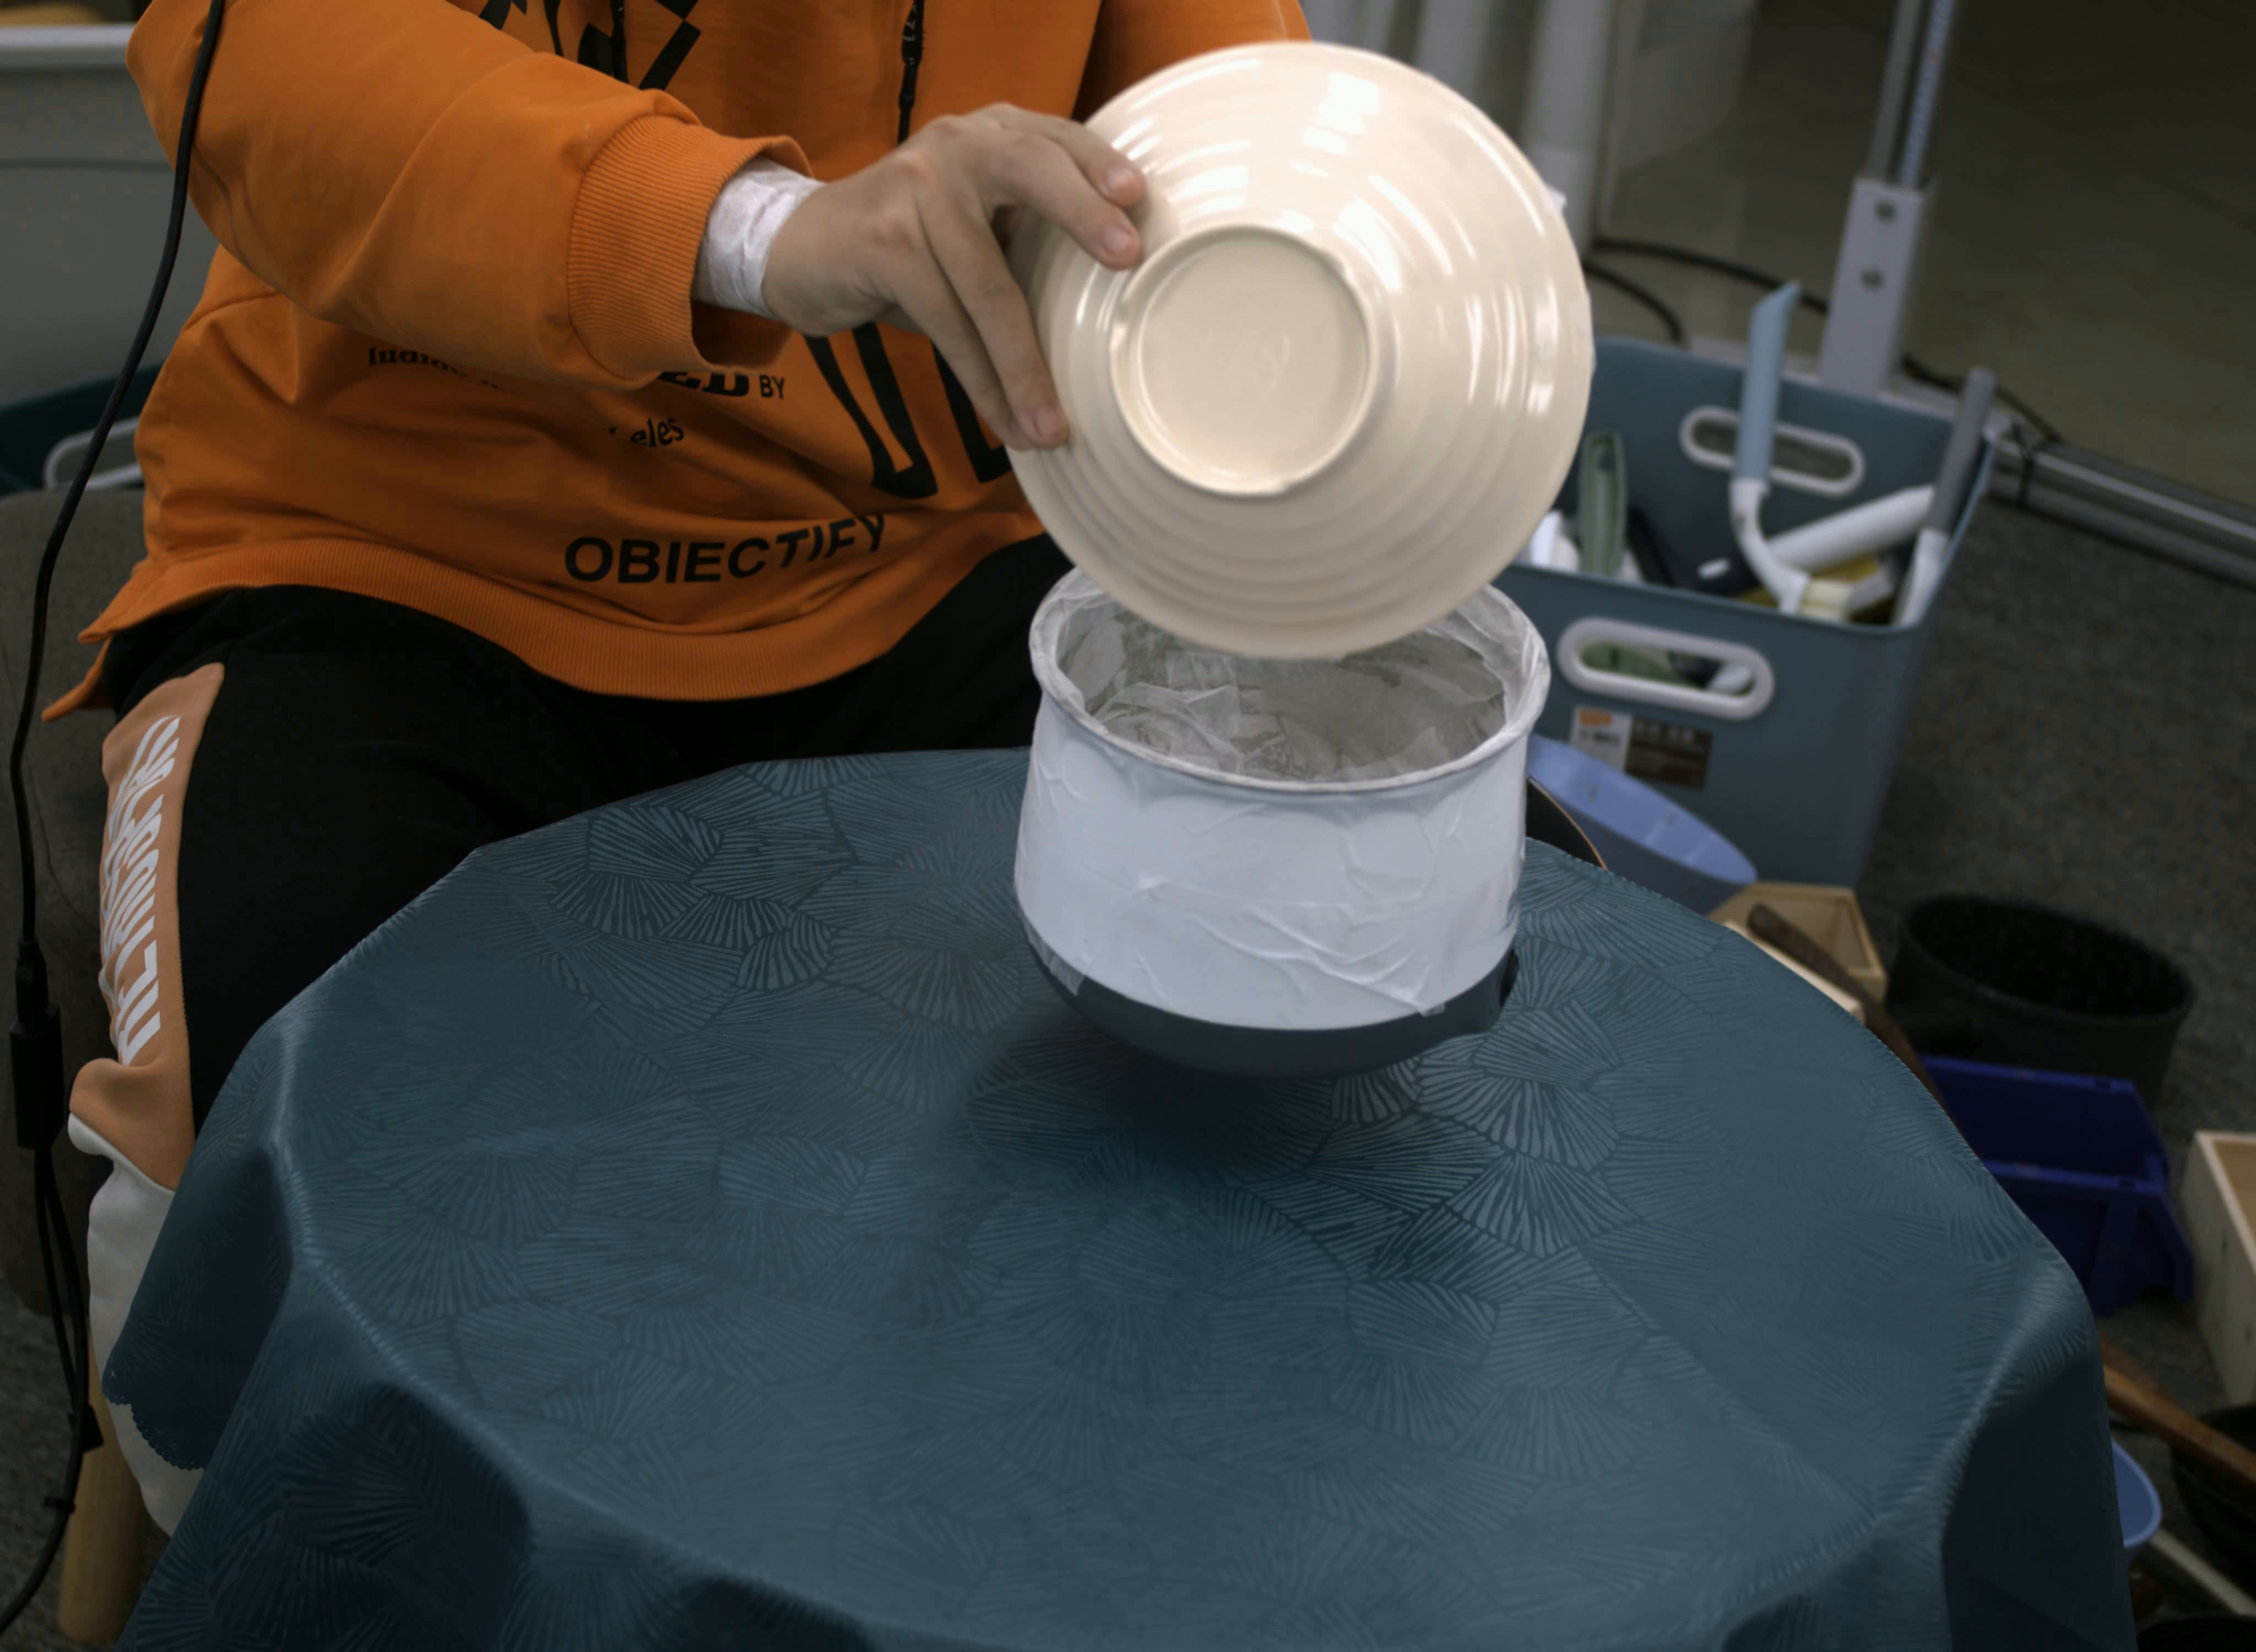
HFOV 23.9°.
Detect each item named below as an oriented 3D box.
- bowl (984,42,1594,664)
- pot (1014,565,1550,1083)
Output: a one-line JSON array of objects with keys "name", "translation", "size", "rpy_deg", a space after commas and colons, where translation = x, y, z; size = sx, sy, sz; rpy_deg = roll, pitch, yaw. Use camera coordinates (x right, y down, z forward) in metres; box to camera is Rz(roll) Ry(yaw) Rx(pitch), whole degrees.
[{"name": "bowl", "translation": [0.046, -0.152, 1.717], "size": [0.204, 0.204, 0.078], "rpy_deg": [12, 6, 10]}, {"name": "pot", "translation": [0.057, -0.021, 1.854], "size": [0.179, 0.136, 0.234], "rpy_deg": [11, 33, 9]}]
